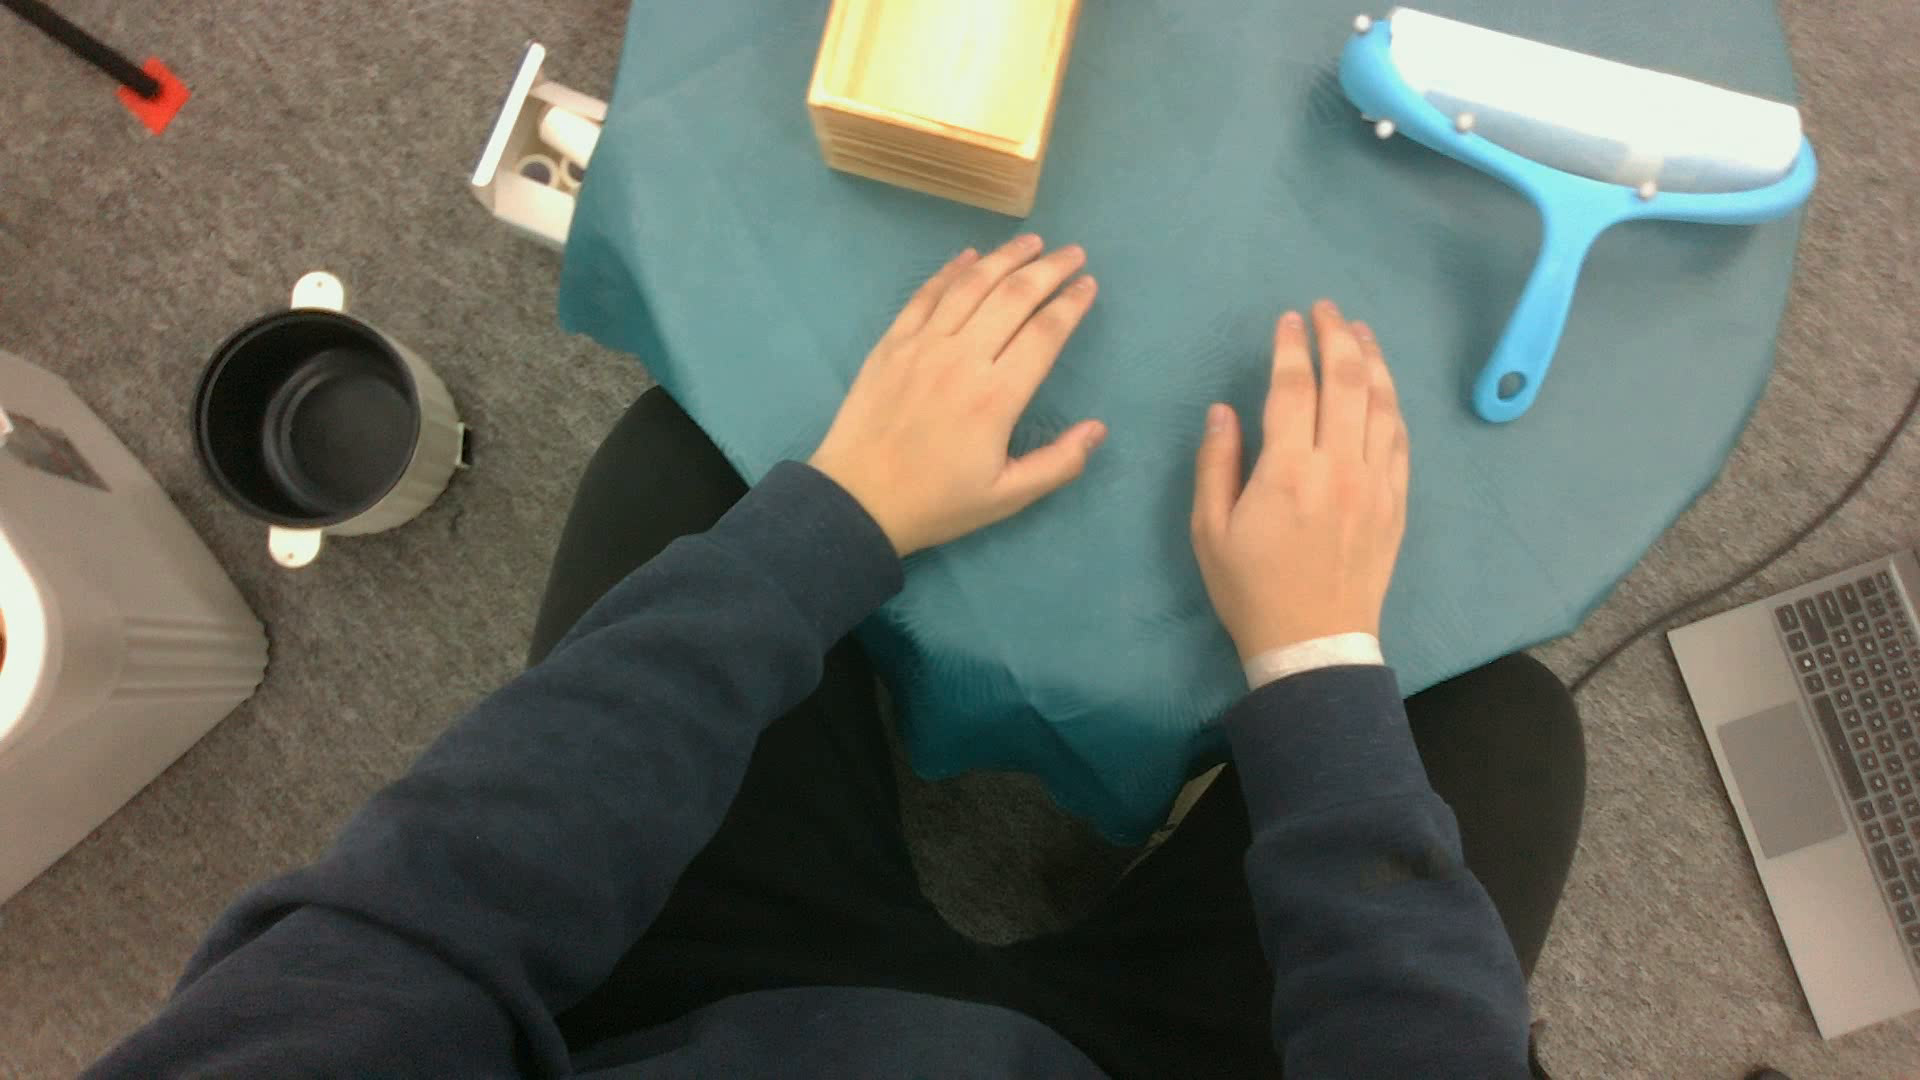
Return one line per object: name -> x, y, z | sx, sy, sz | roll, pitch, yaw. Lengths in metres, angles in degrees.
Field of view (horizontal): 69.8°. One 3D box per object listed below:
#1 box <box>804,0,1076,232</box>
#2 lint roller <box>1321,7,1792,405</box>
box -> 0.003, -0.273, 0.679 | 0.107, 0.080, 0.211 | 12, 84, 3
lint roller -> 0.281, -0.158, 0.671 | 0.229, 0.068, 0.180 | 11, 82, 0
